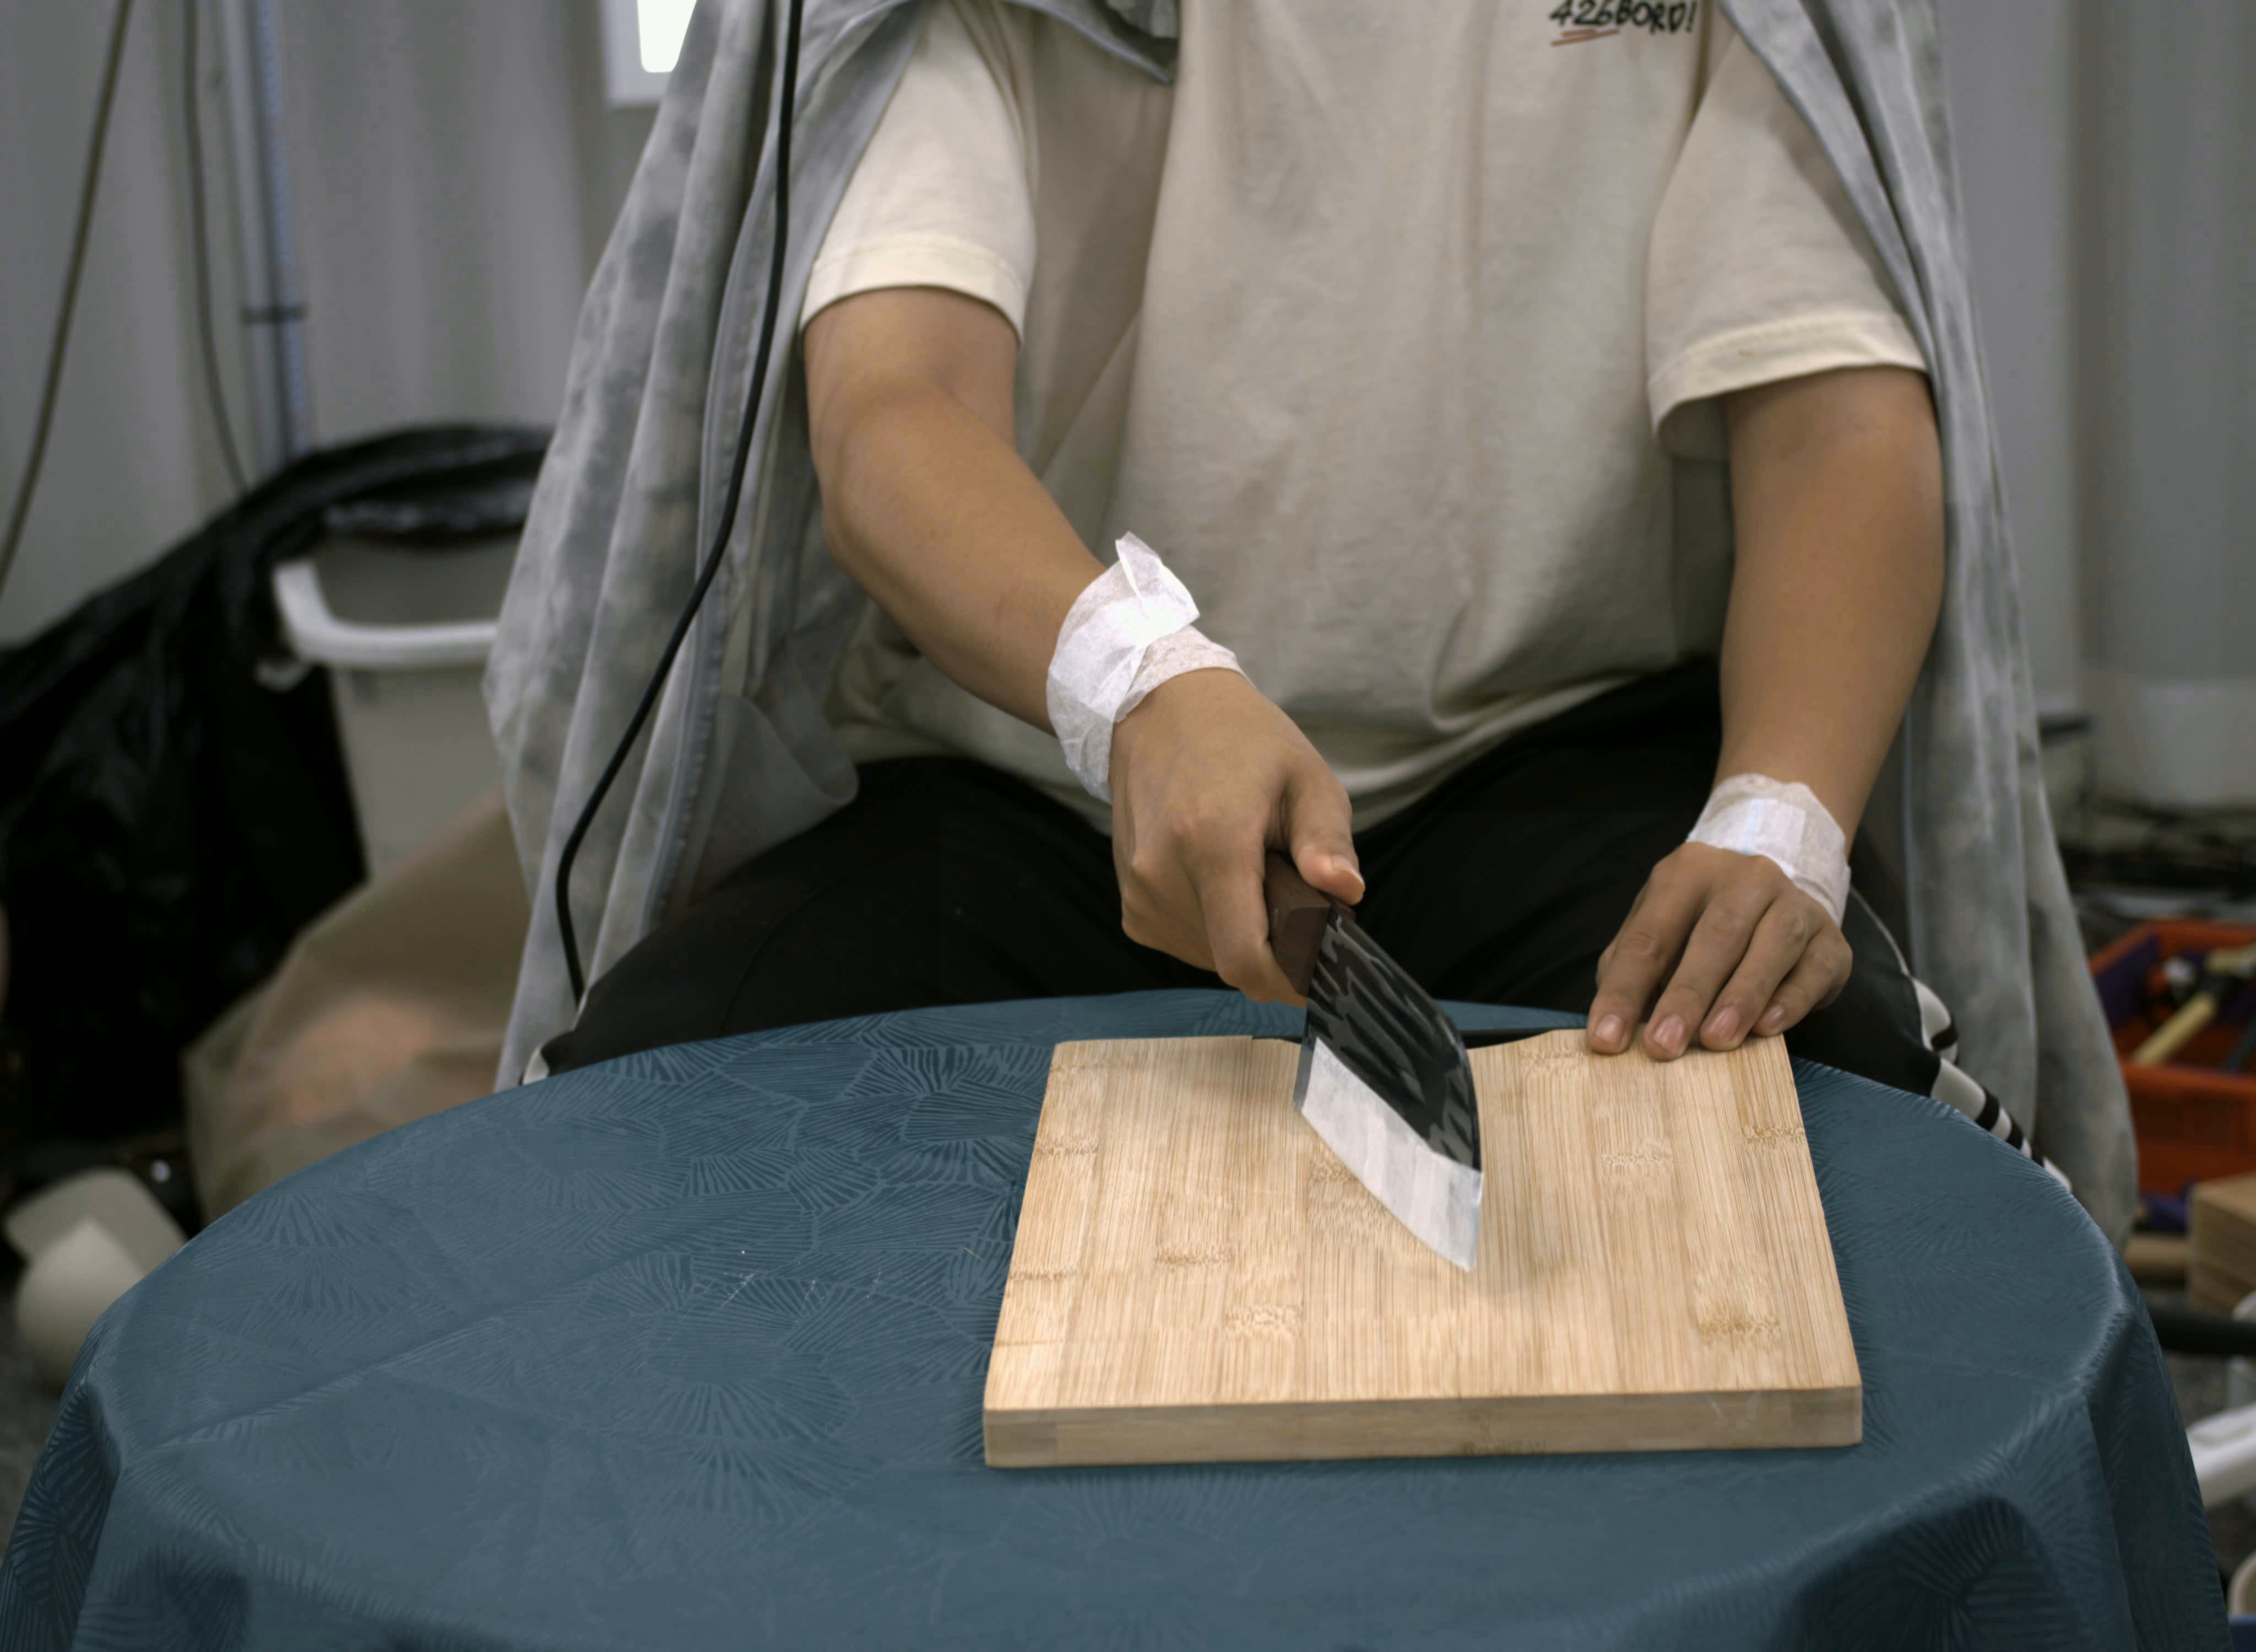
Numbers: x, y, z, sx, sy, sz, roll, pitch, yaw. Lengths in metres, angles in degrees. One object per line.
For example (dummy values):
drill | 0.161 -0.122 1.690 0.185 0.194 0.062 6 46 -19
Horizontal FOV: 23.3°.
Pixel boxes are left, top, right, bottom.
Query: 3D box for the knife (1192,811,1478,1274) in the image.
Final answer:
knife | 0.064 0.063 1.690 0.024 0.068 0.302 7 15 -17

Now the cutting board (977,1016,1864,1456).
cutting board | 0.088 0.120 1.654 0.250 0.023 0.351 -2 15 2
